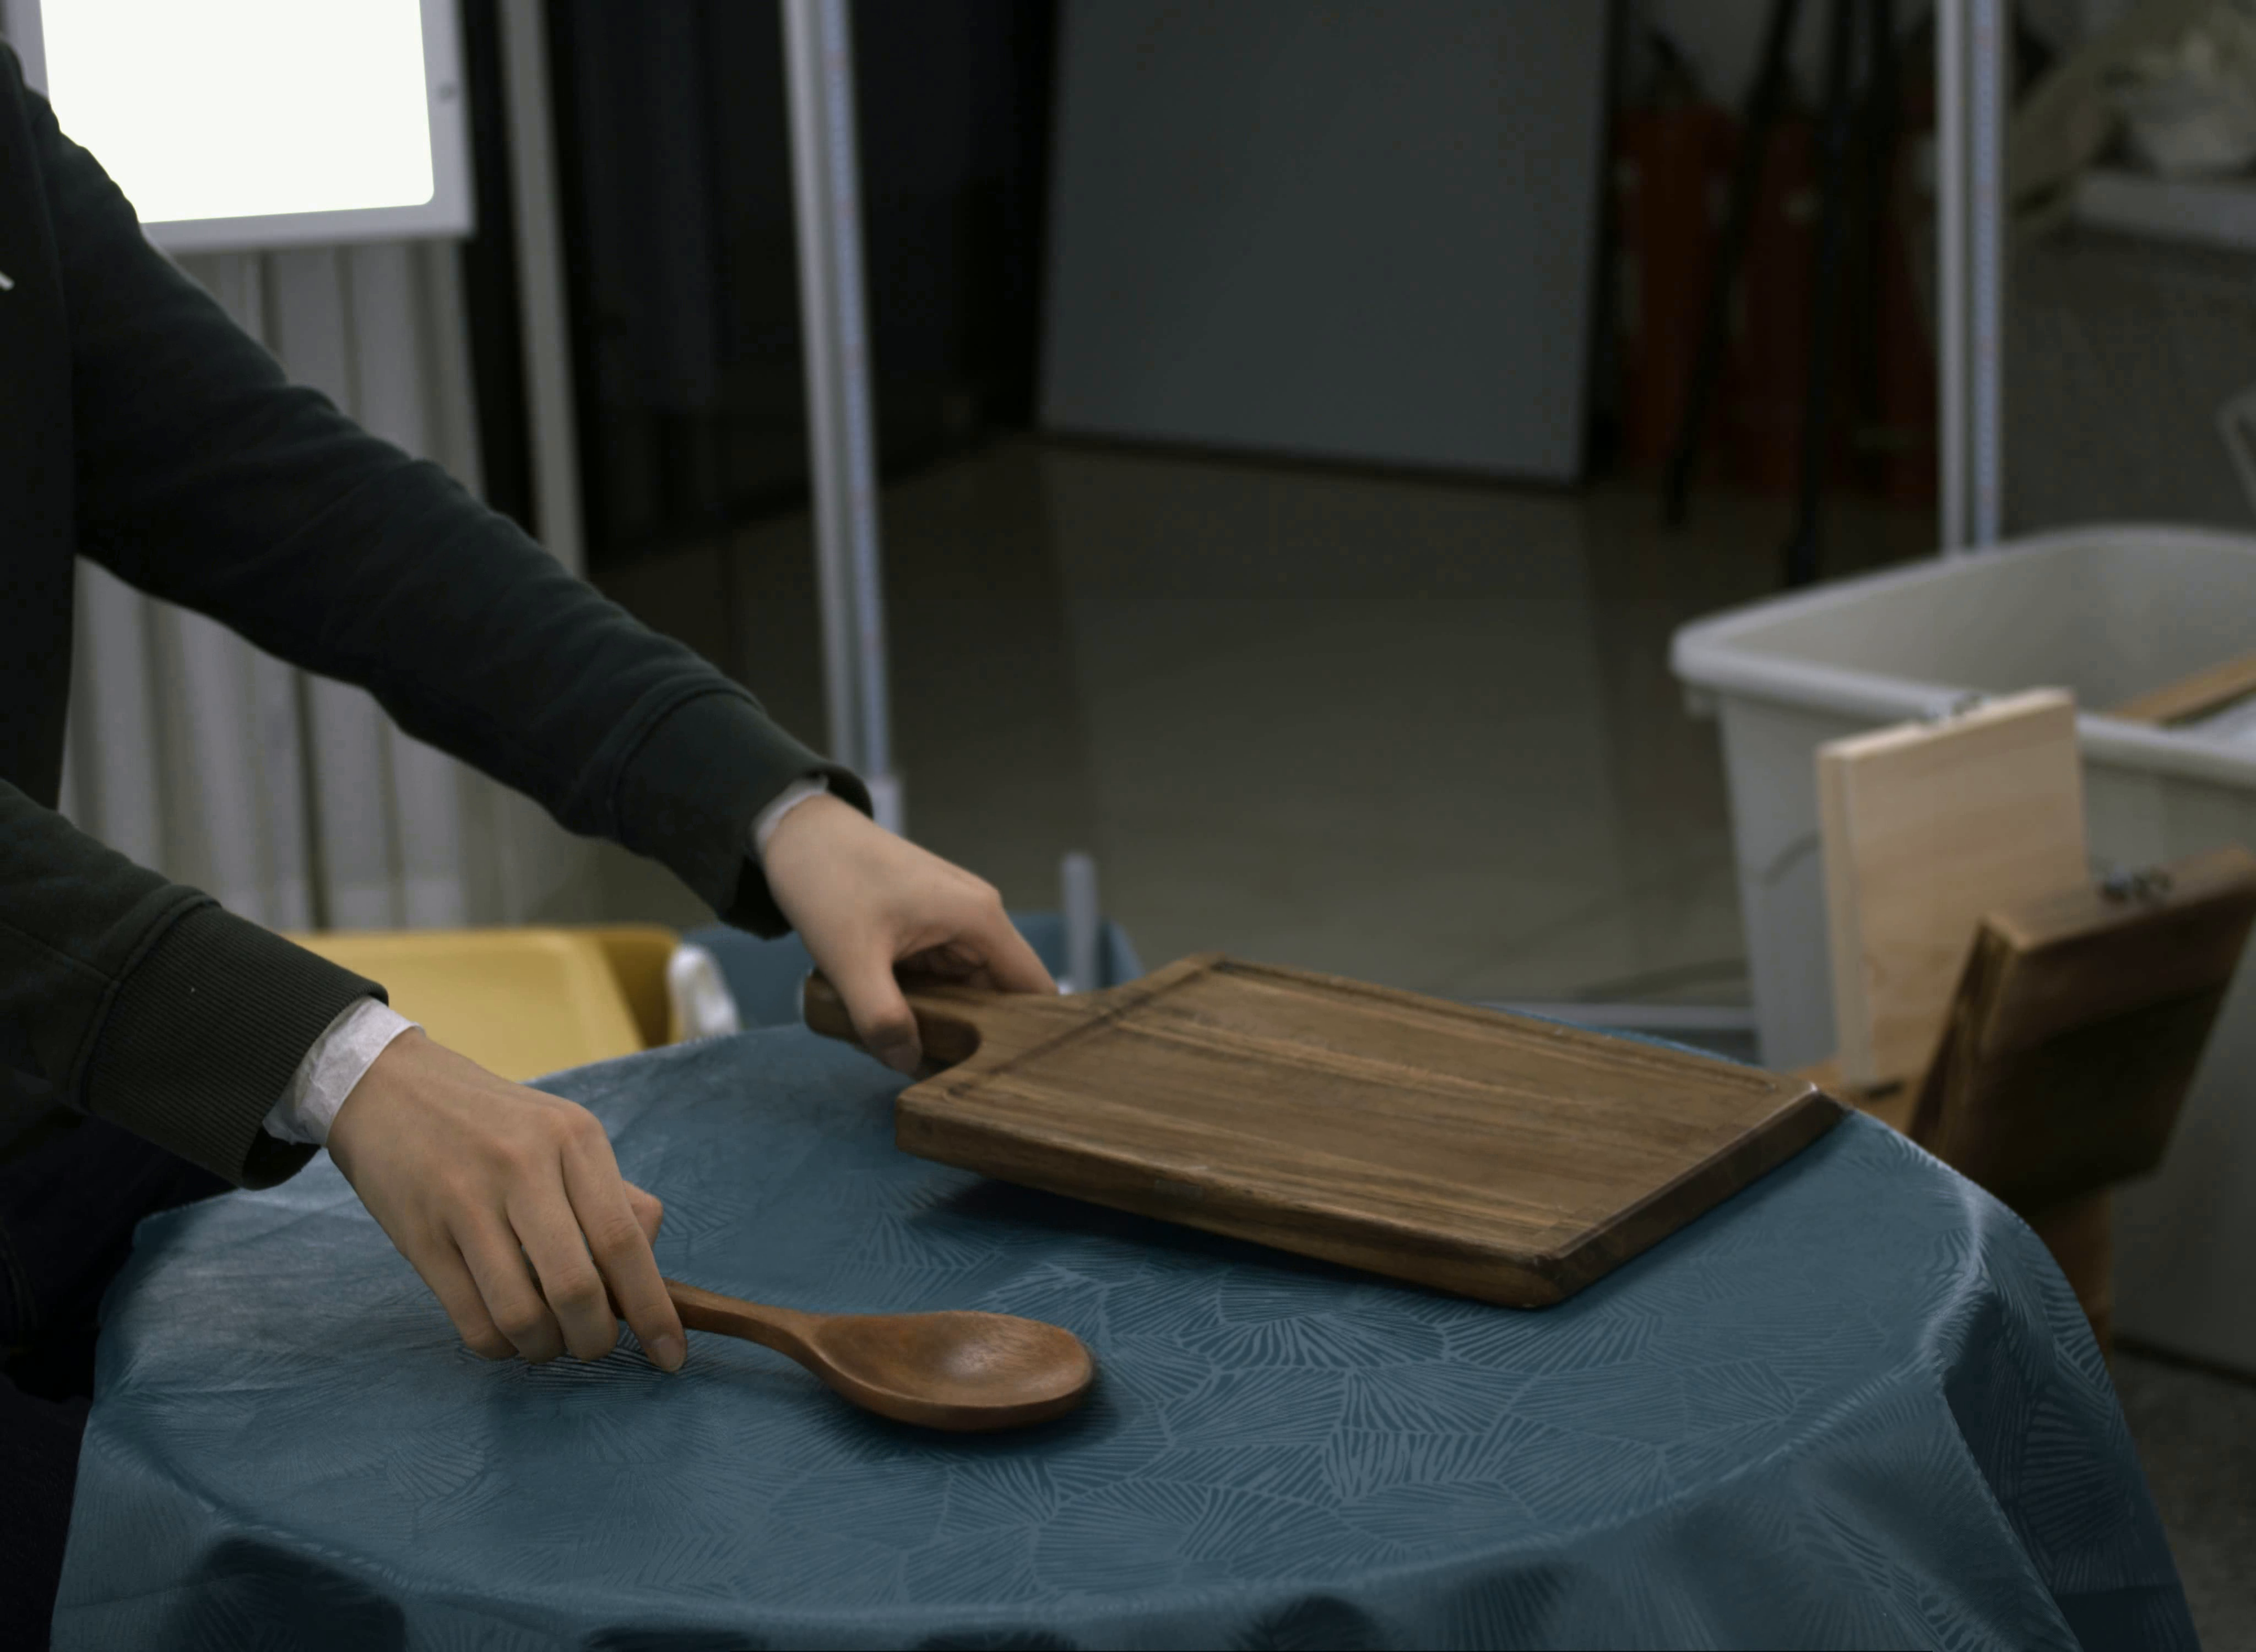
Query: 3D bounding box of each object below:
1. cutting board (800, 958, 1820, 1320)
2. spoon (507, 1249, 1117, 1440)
[{"bbox_3d":[0.036,0.090,1.795,0.354,0.023,0.198,11,21,33],"label":"cutting board"},{"bbox_3d":[-0.098,0.154,1.615,0.217,0.017,0.074,10,21,33],"label":"spoon"}]
